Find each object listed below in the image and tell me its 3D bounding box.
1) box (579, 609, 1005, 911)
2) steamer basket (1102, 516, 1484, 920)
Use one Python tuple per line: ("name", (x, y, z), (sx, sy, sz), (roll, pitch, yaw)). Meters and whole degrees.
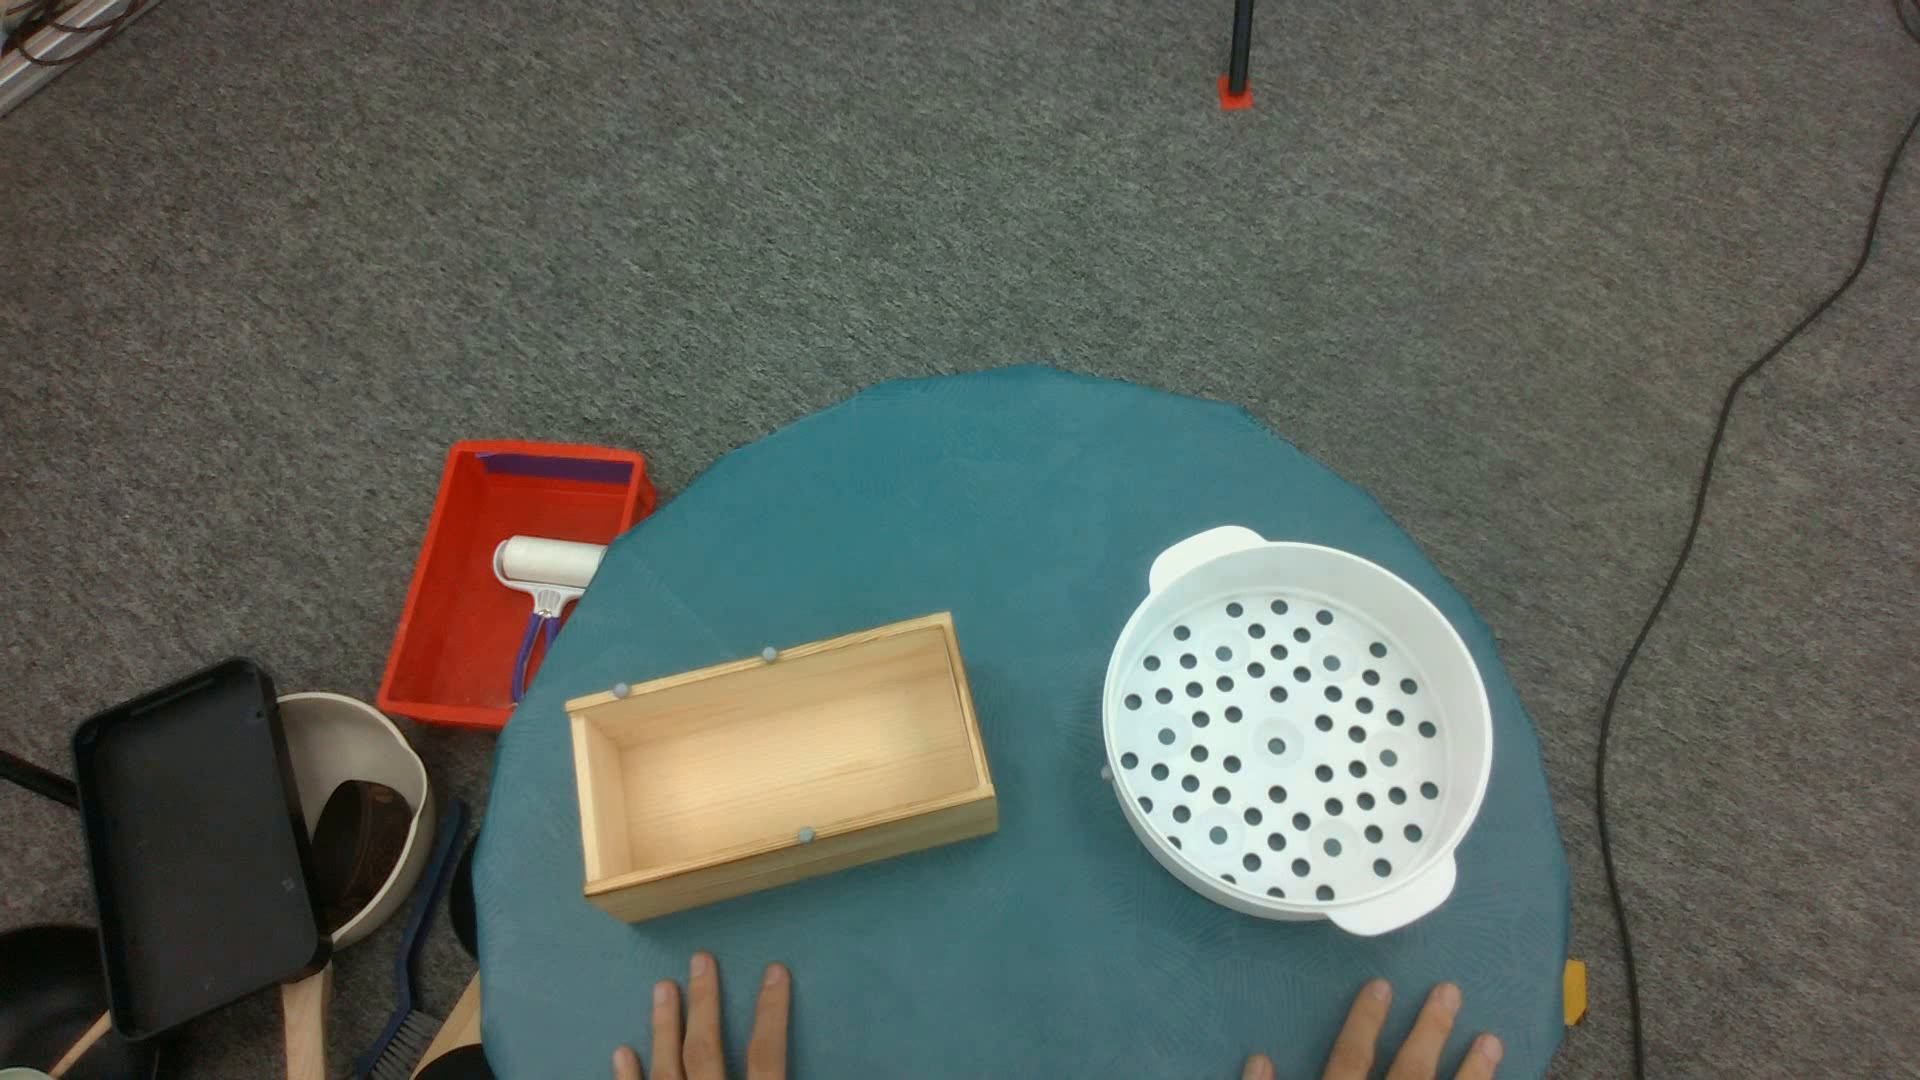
("box", (-0.090, 0.123, 0.762), (0.211, 0.080, 0.108), (-14, 66, -2))
("steamer basket", (0.179, 0.099, 0.763), (0.202, 0.069, 0.231), (-23, 67, -6))
